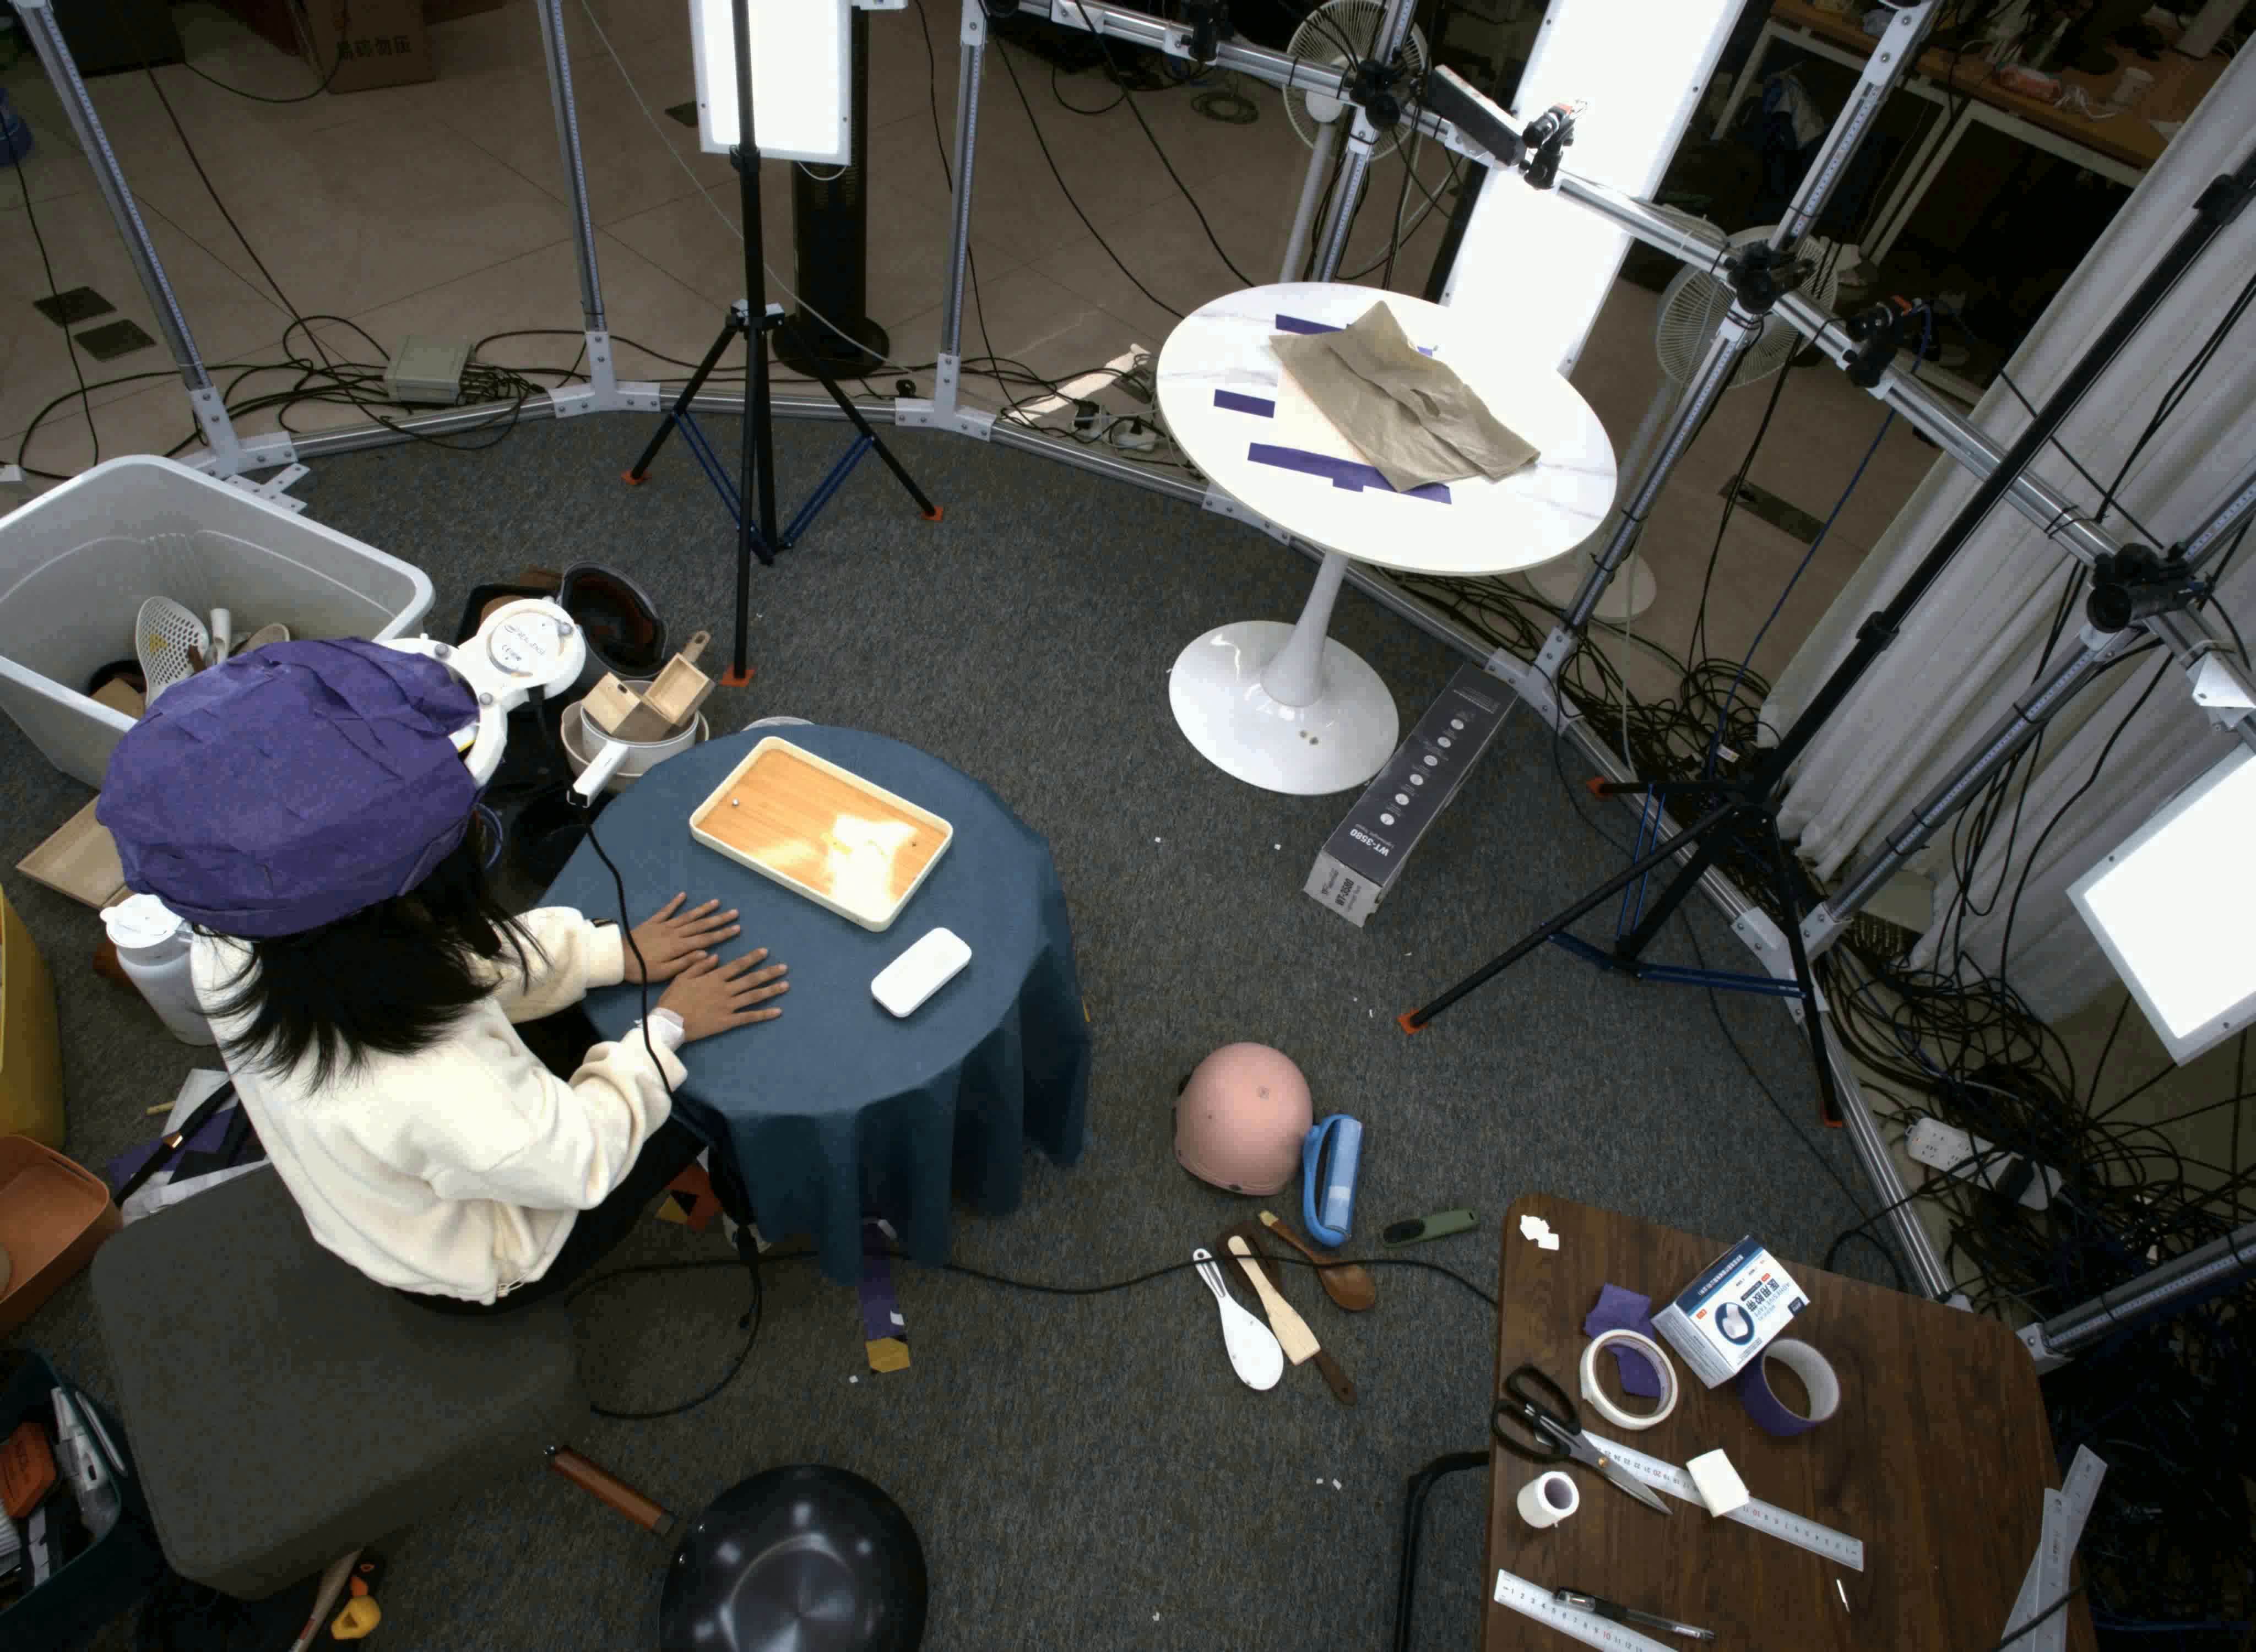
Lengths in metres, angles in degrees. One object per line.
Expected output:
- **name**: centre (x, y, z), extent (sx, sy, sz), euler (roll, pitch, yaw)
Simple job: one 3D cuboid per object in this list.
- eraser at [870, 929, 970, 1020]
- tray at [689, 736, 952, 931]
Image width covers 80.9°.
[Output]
- **eraser**: centre (-0.257, 0.179, 1.609), extent (0.062, 0.035, 0.131), euler (39, 53, 15)
- **tray**: centre (-0.402, 0.004, 1.705), extent (0.296, 0.028, 0.190), euler (26, 51, 5)
